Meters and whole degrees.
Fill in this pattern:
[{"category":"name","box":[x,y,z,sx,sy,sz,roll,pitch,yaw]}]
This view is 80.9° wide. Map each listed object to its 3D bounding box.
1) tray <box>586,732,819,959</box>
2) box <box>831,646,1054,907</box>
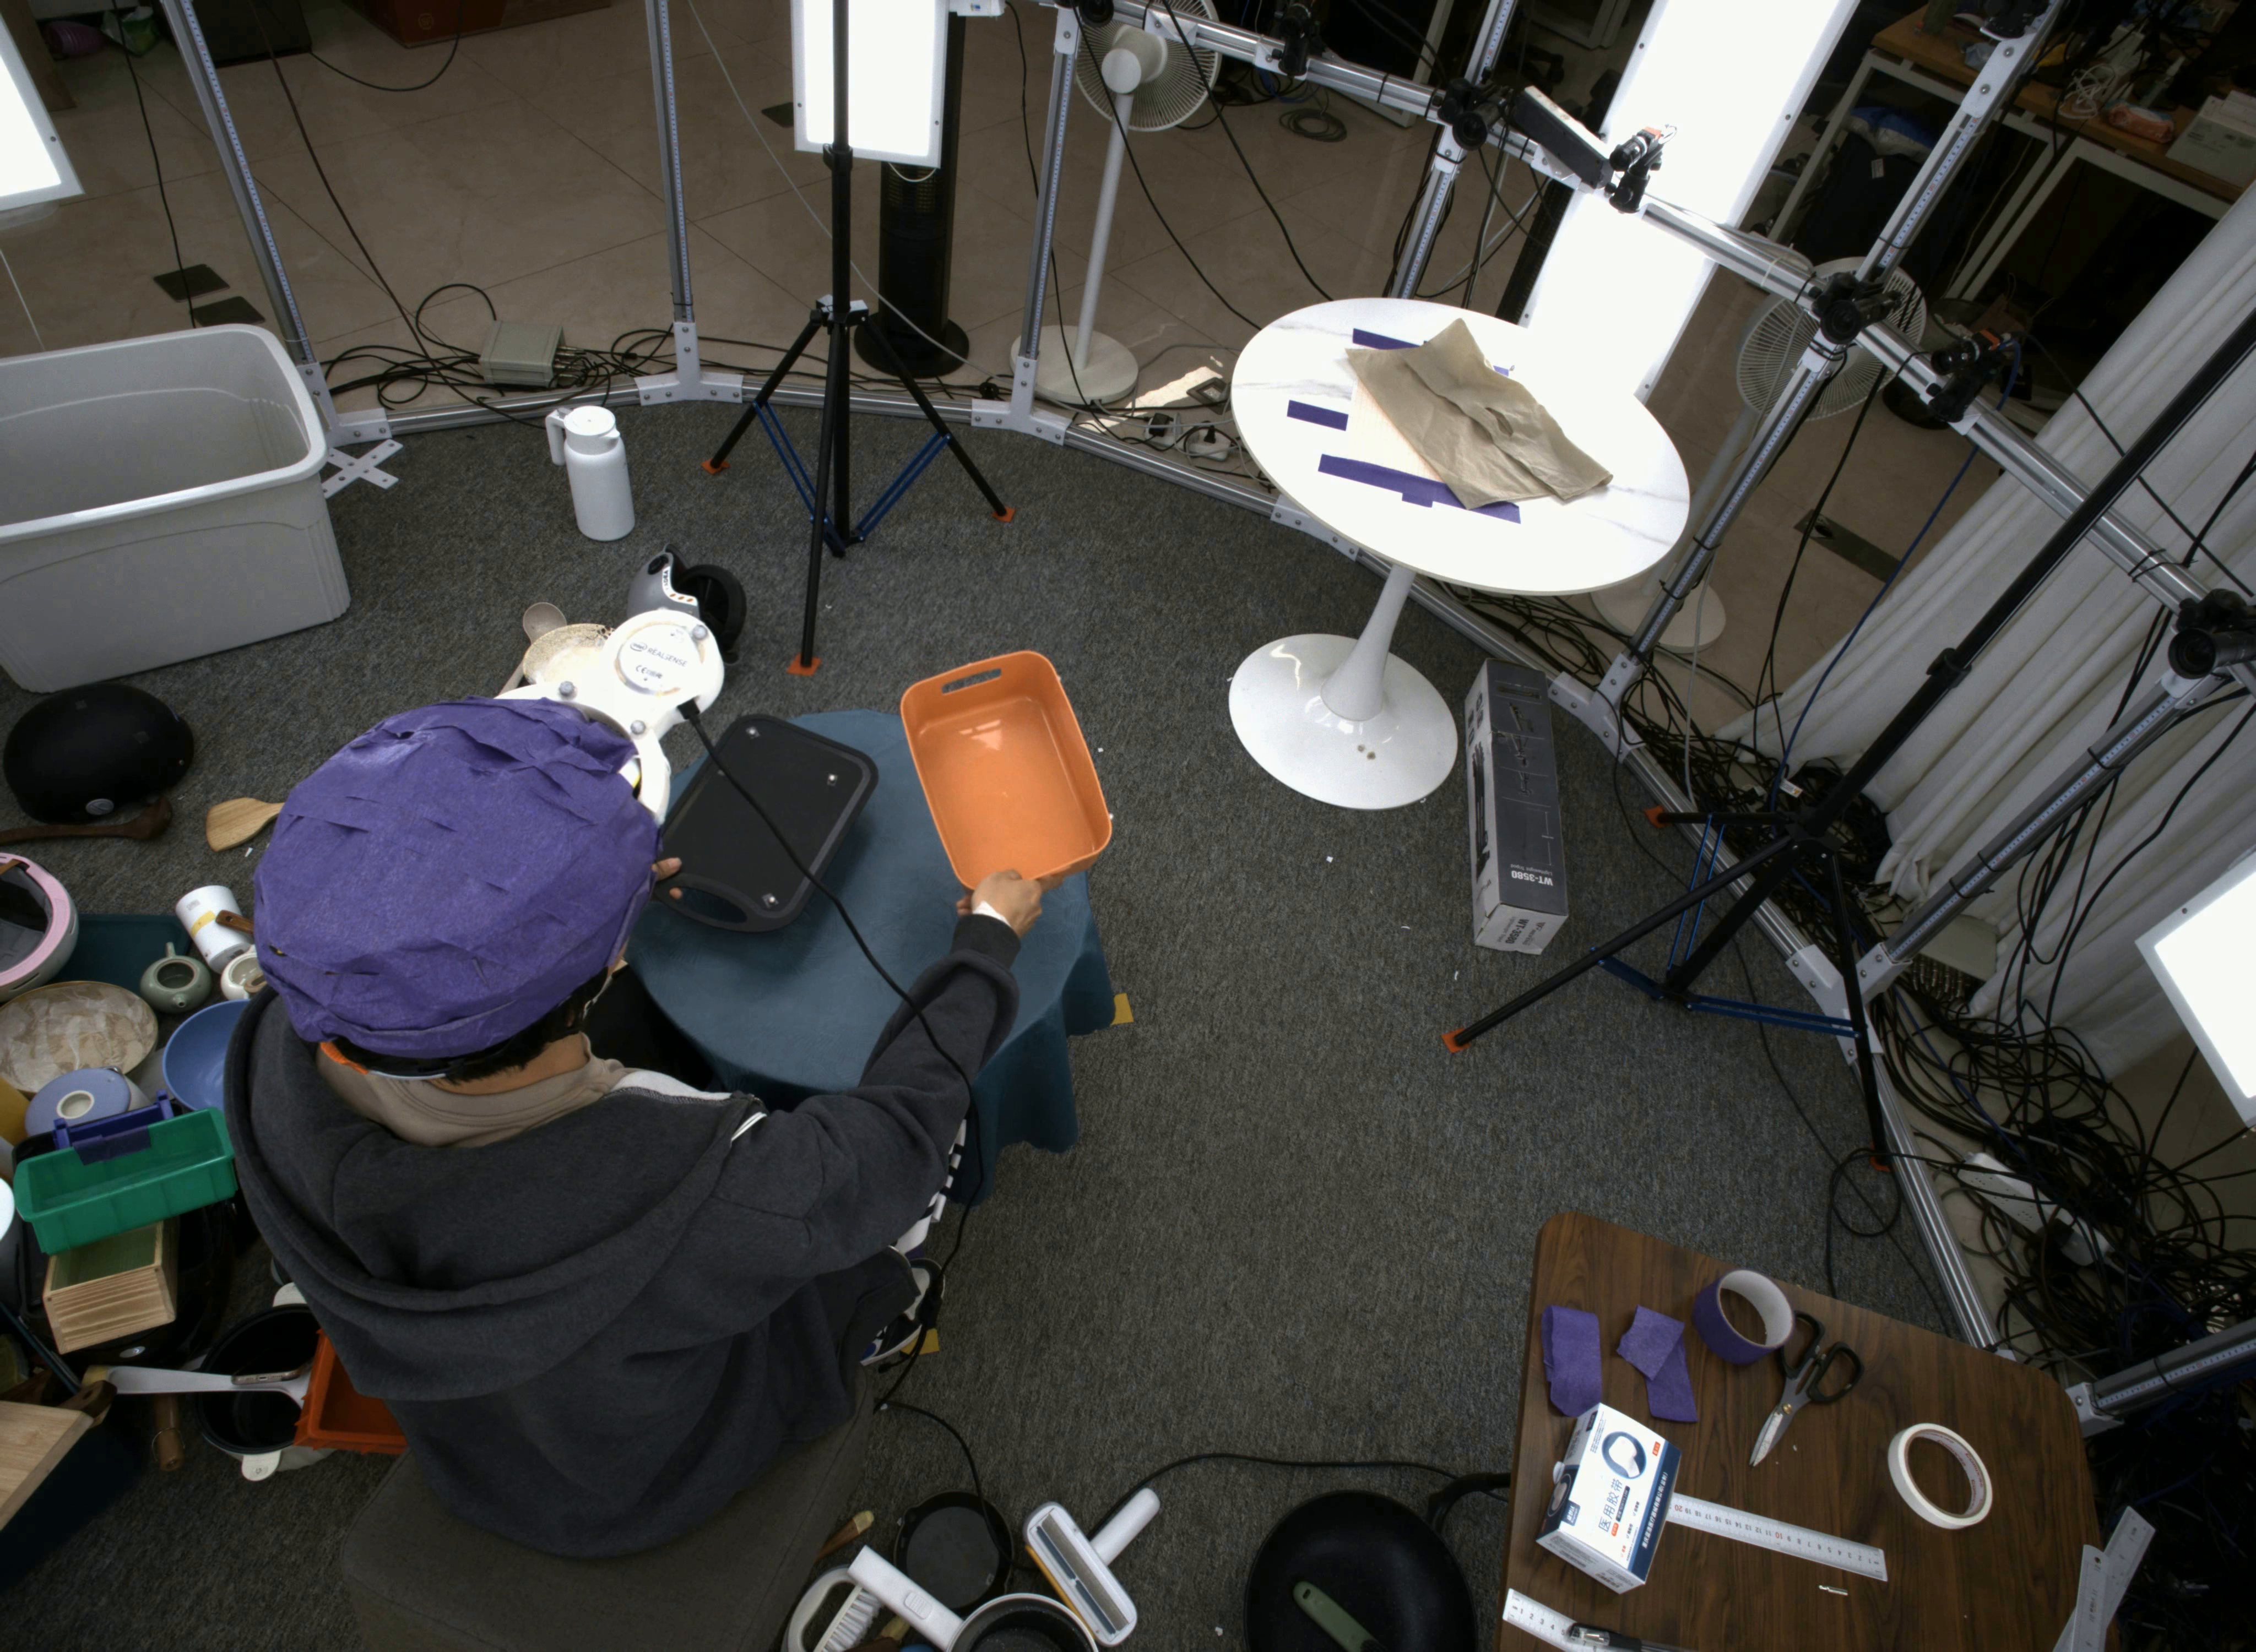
[{"category":"tray","box":[-0.523,0.019,1.582,0.210,0.010,0.321,20,52,-4]},{"category":"box","box":[-0.217,-0.050,1.518,0.199,0.103,0.271,-21,76,-15]}]
